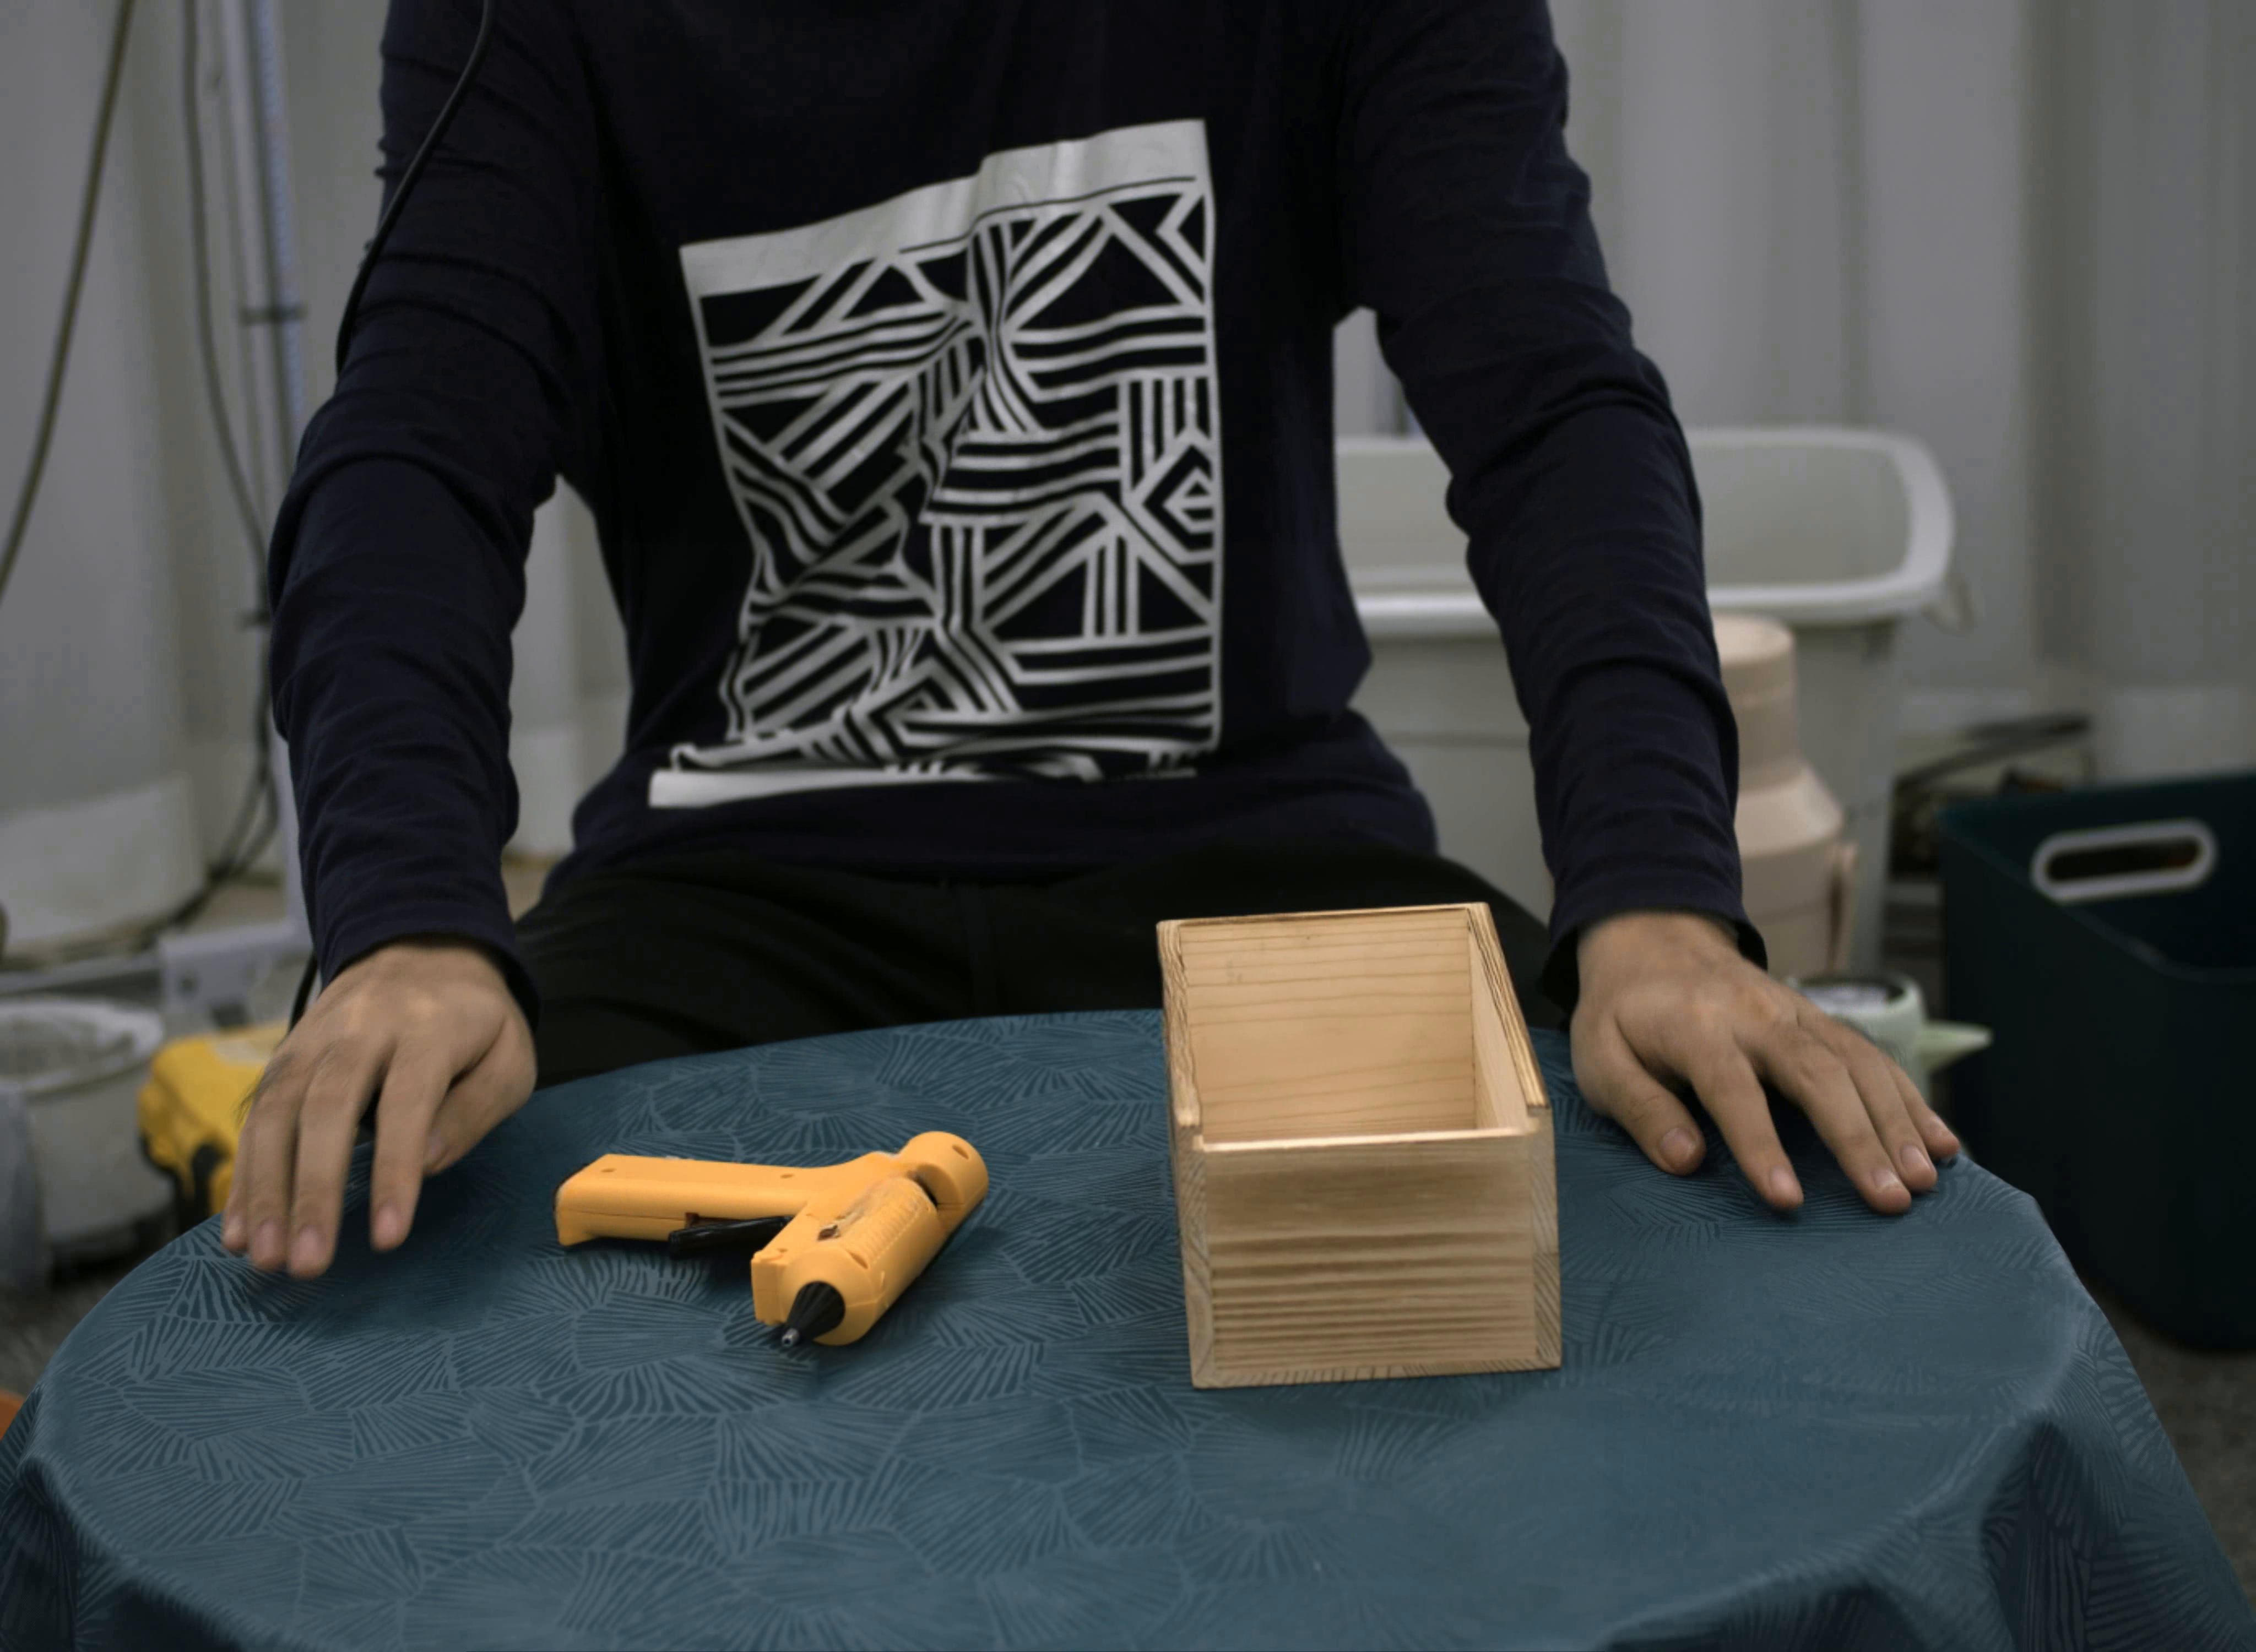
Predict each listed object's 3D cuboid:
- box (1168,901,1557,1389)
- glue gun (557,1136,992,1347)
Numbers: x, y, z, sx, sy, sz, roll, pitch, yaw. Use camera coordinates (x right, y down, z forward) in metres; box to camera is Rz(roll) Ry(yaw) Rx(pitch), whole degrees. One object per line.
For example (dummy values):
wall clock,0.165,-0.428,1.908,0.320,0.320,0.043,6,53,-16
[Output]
box,0.067,0.092,1.636,0.107,0.080,0.213,-3,15,0
glue gun,-0.120,0.128,1.638,0.133,0.031,0.152,0,14,11
